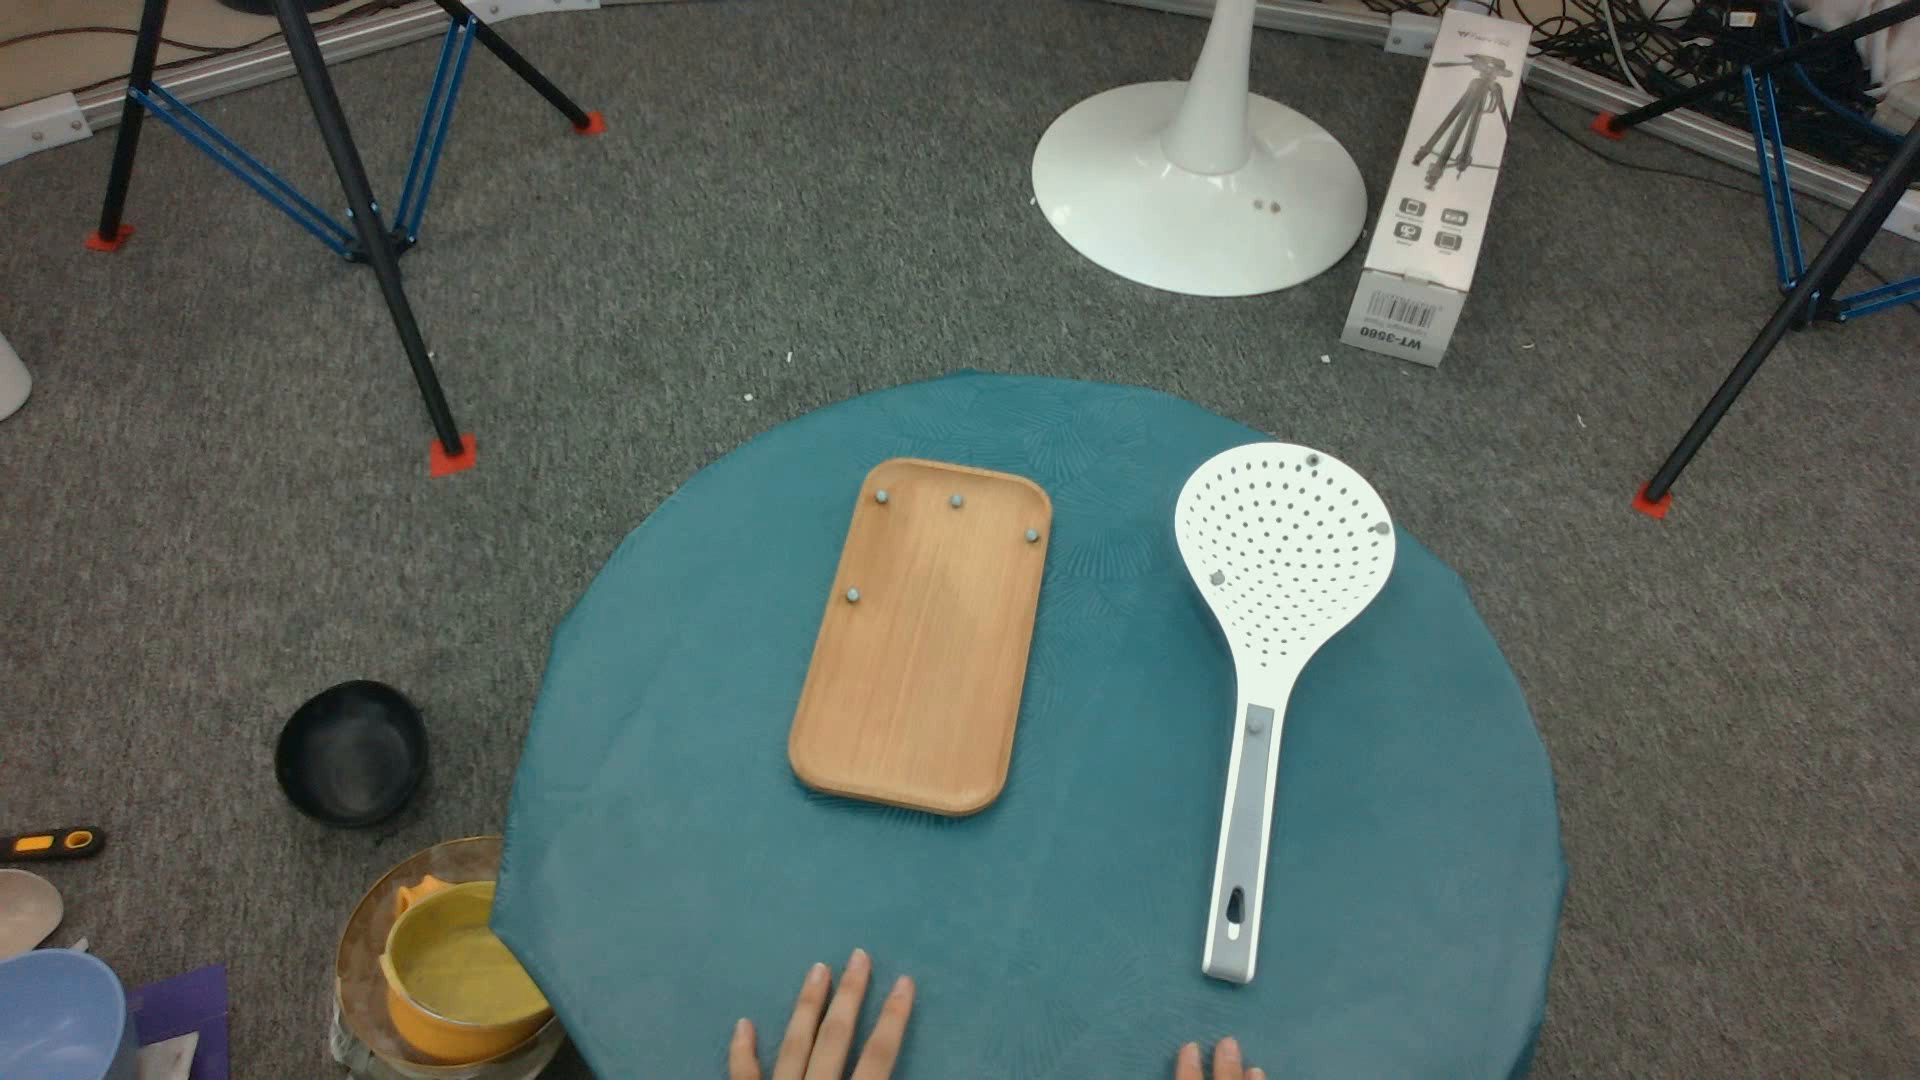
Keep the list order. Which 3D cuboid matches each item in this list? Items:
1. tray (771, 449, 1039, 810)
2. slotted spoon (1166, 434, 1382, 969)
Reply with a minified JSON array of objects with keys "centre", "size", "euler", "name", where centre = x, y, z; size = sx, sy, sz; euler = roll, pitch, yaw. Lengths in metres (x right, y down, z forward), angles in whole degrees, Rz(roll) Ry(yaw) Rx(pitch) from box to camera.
[{"centre":[-0.028,0.047,0.843],"size":[0.130,0.023,0.252],"euler":[9,53,5],"name":"tray"},{"centre":[0.172,0.080,0.814],"size":[0.136,0.045,0.351],"euler":[11,53,7],"name":"slotted spoon"}]
